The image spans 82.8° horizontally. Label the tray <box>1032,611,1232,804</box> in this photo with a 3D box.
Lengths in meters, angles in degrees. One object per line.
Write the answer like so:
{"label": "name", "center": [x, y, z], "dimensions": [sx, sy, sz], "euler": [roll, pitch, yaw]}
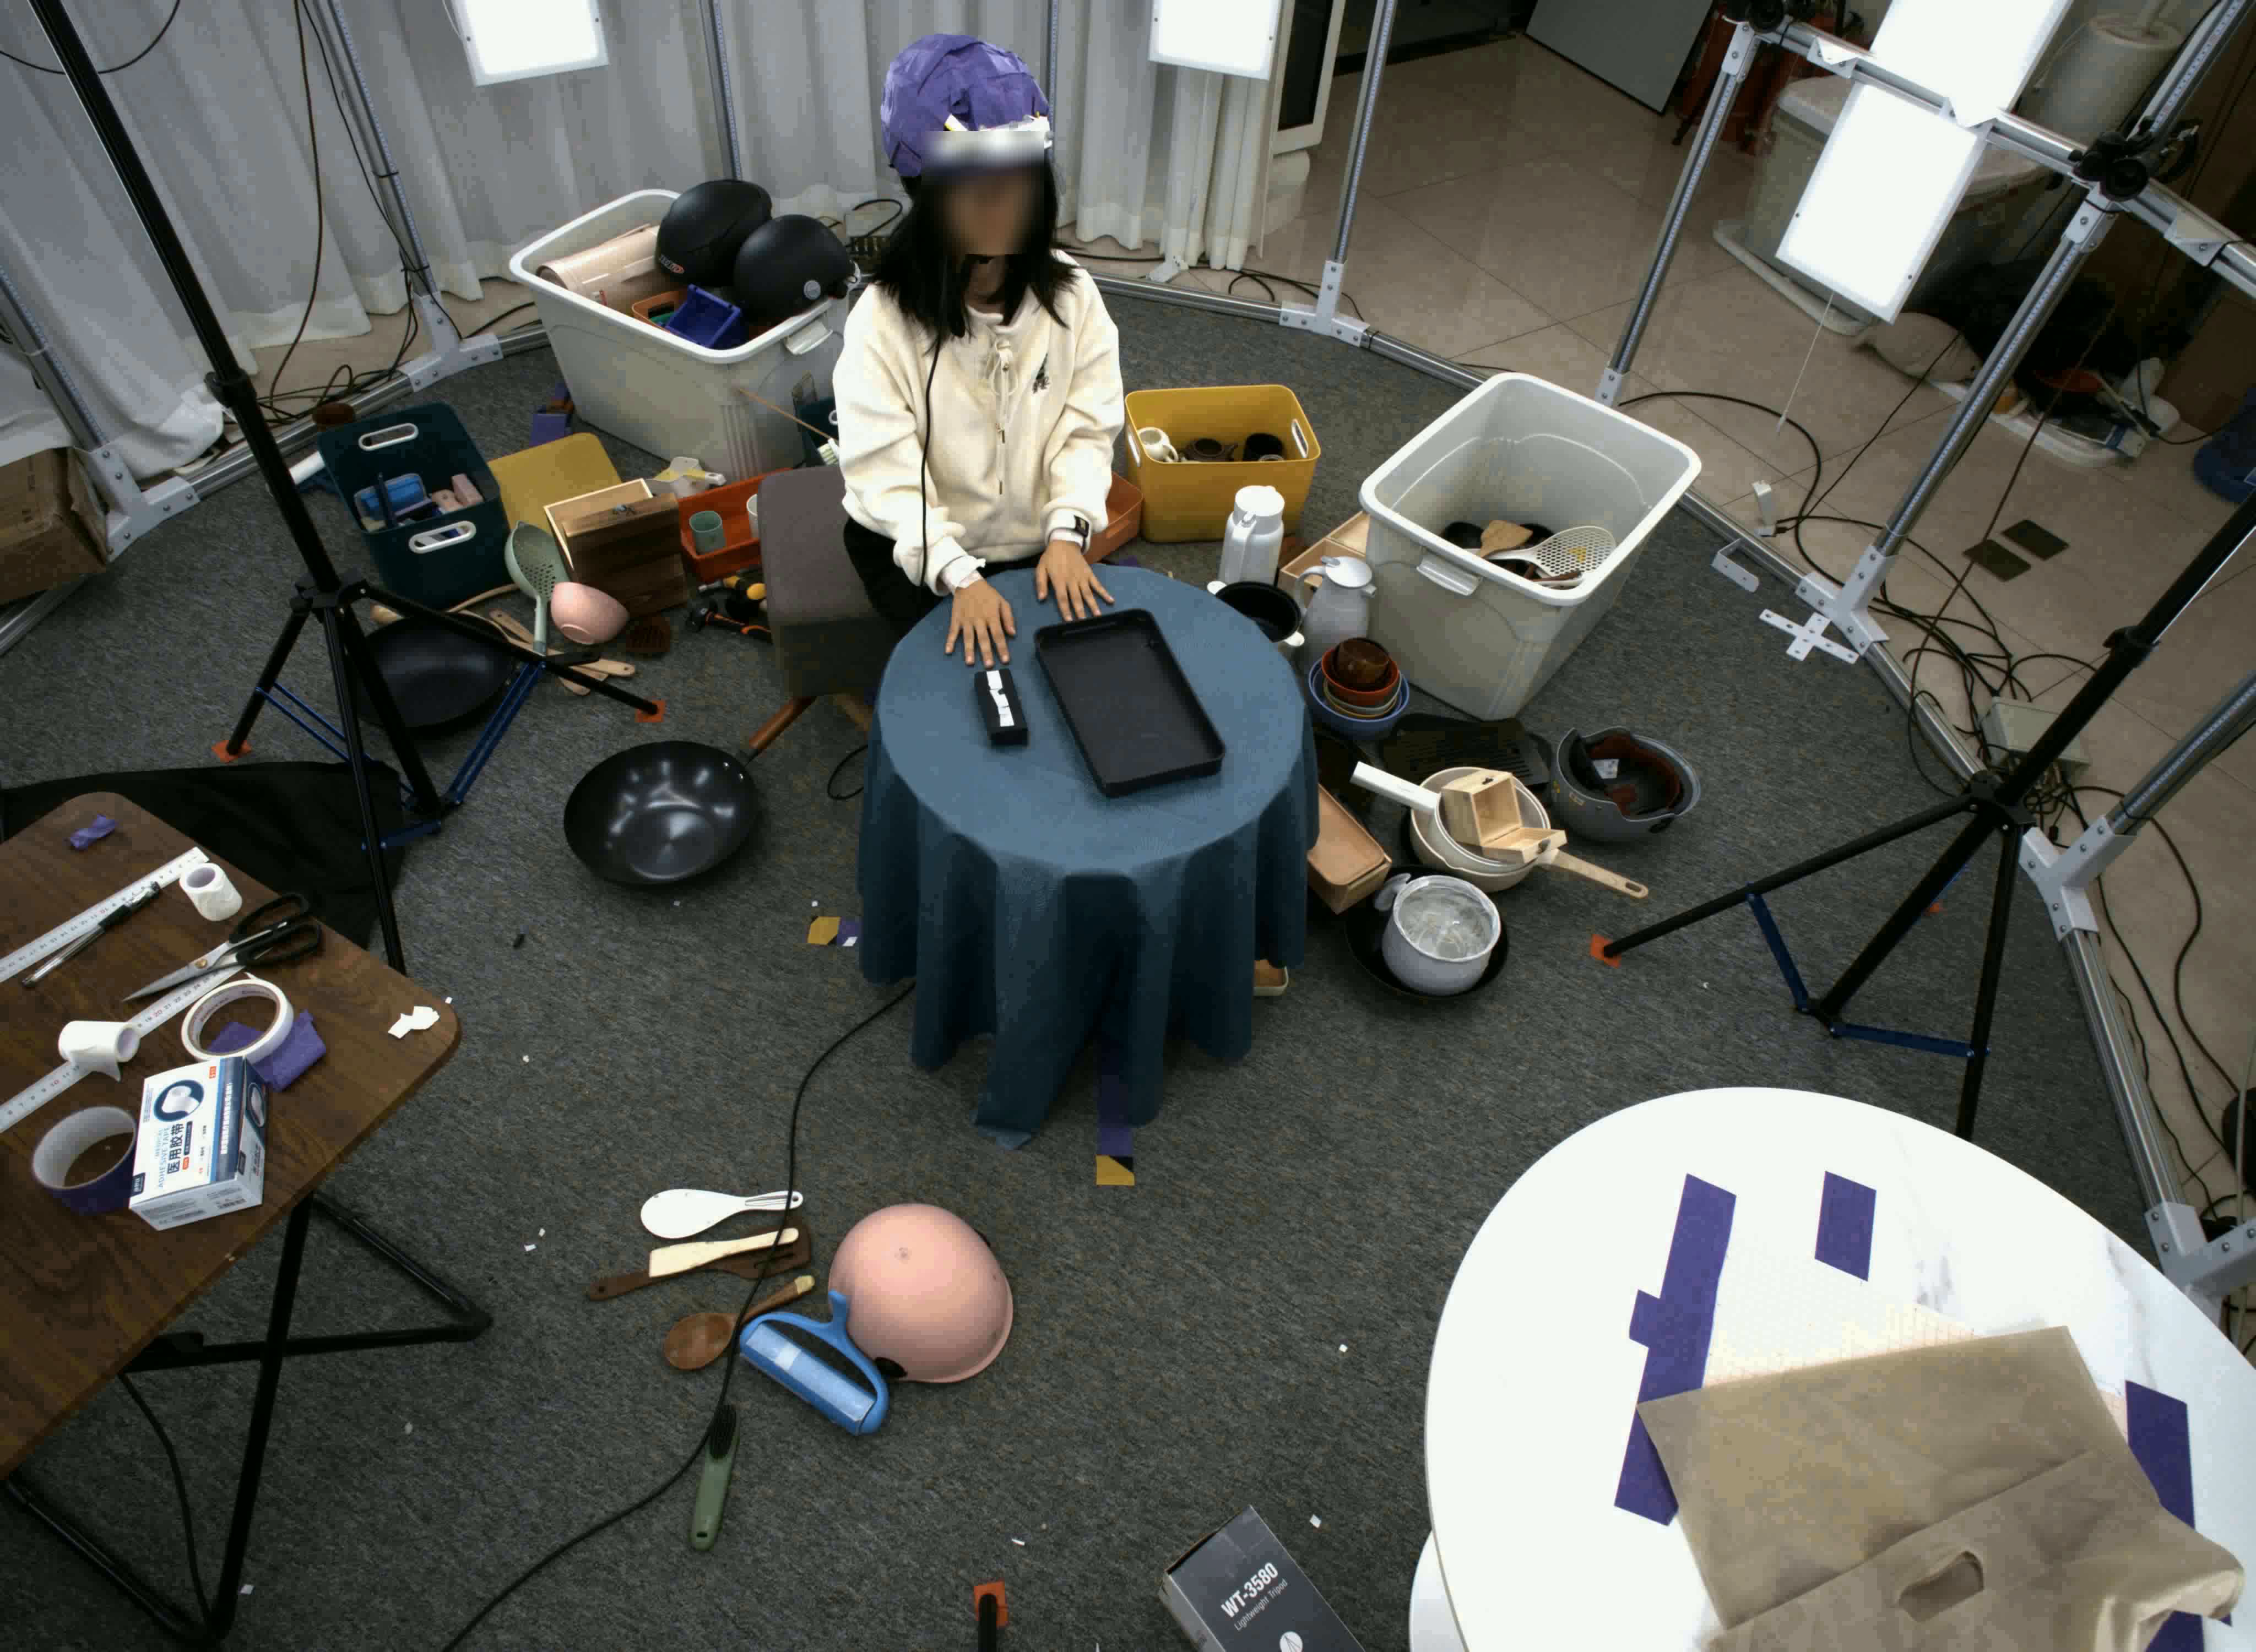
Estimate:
{"label": "tray", "center": [0.000, -0.172, 1.795], "dimensions": [0.184, 0.036, 0.325], "euler": [-16, 52, -17]}

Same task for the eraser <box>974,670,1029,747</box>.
{"label": "eraser", "center": [-0.176, -0.164, 1.782], "dimensions": [0.053, 0.030, 0.128], "euler": [-7, 50, -15]}
